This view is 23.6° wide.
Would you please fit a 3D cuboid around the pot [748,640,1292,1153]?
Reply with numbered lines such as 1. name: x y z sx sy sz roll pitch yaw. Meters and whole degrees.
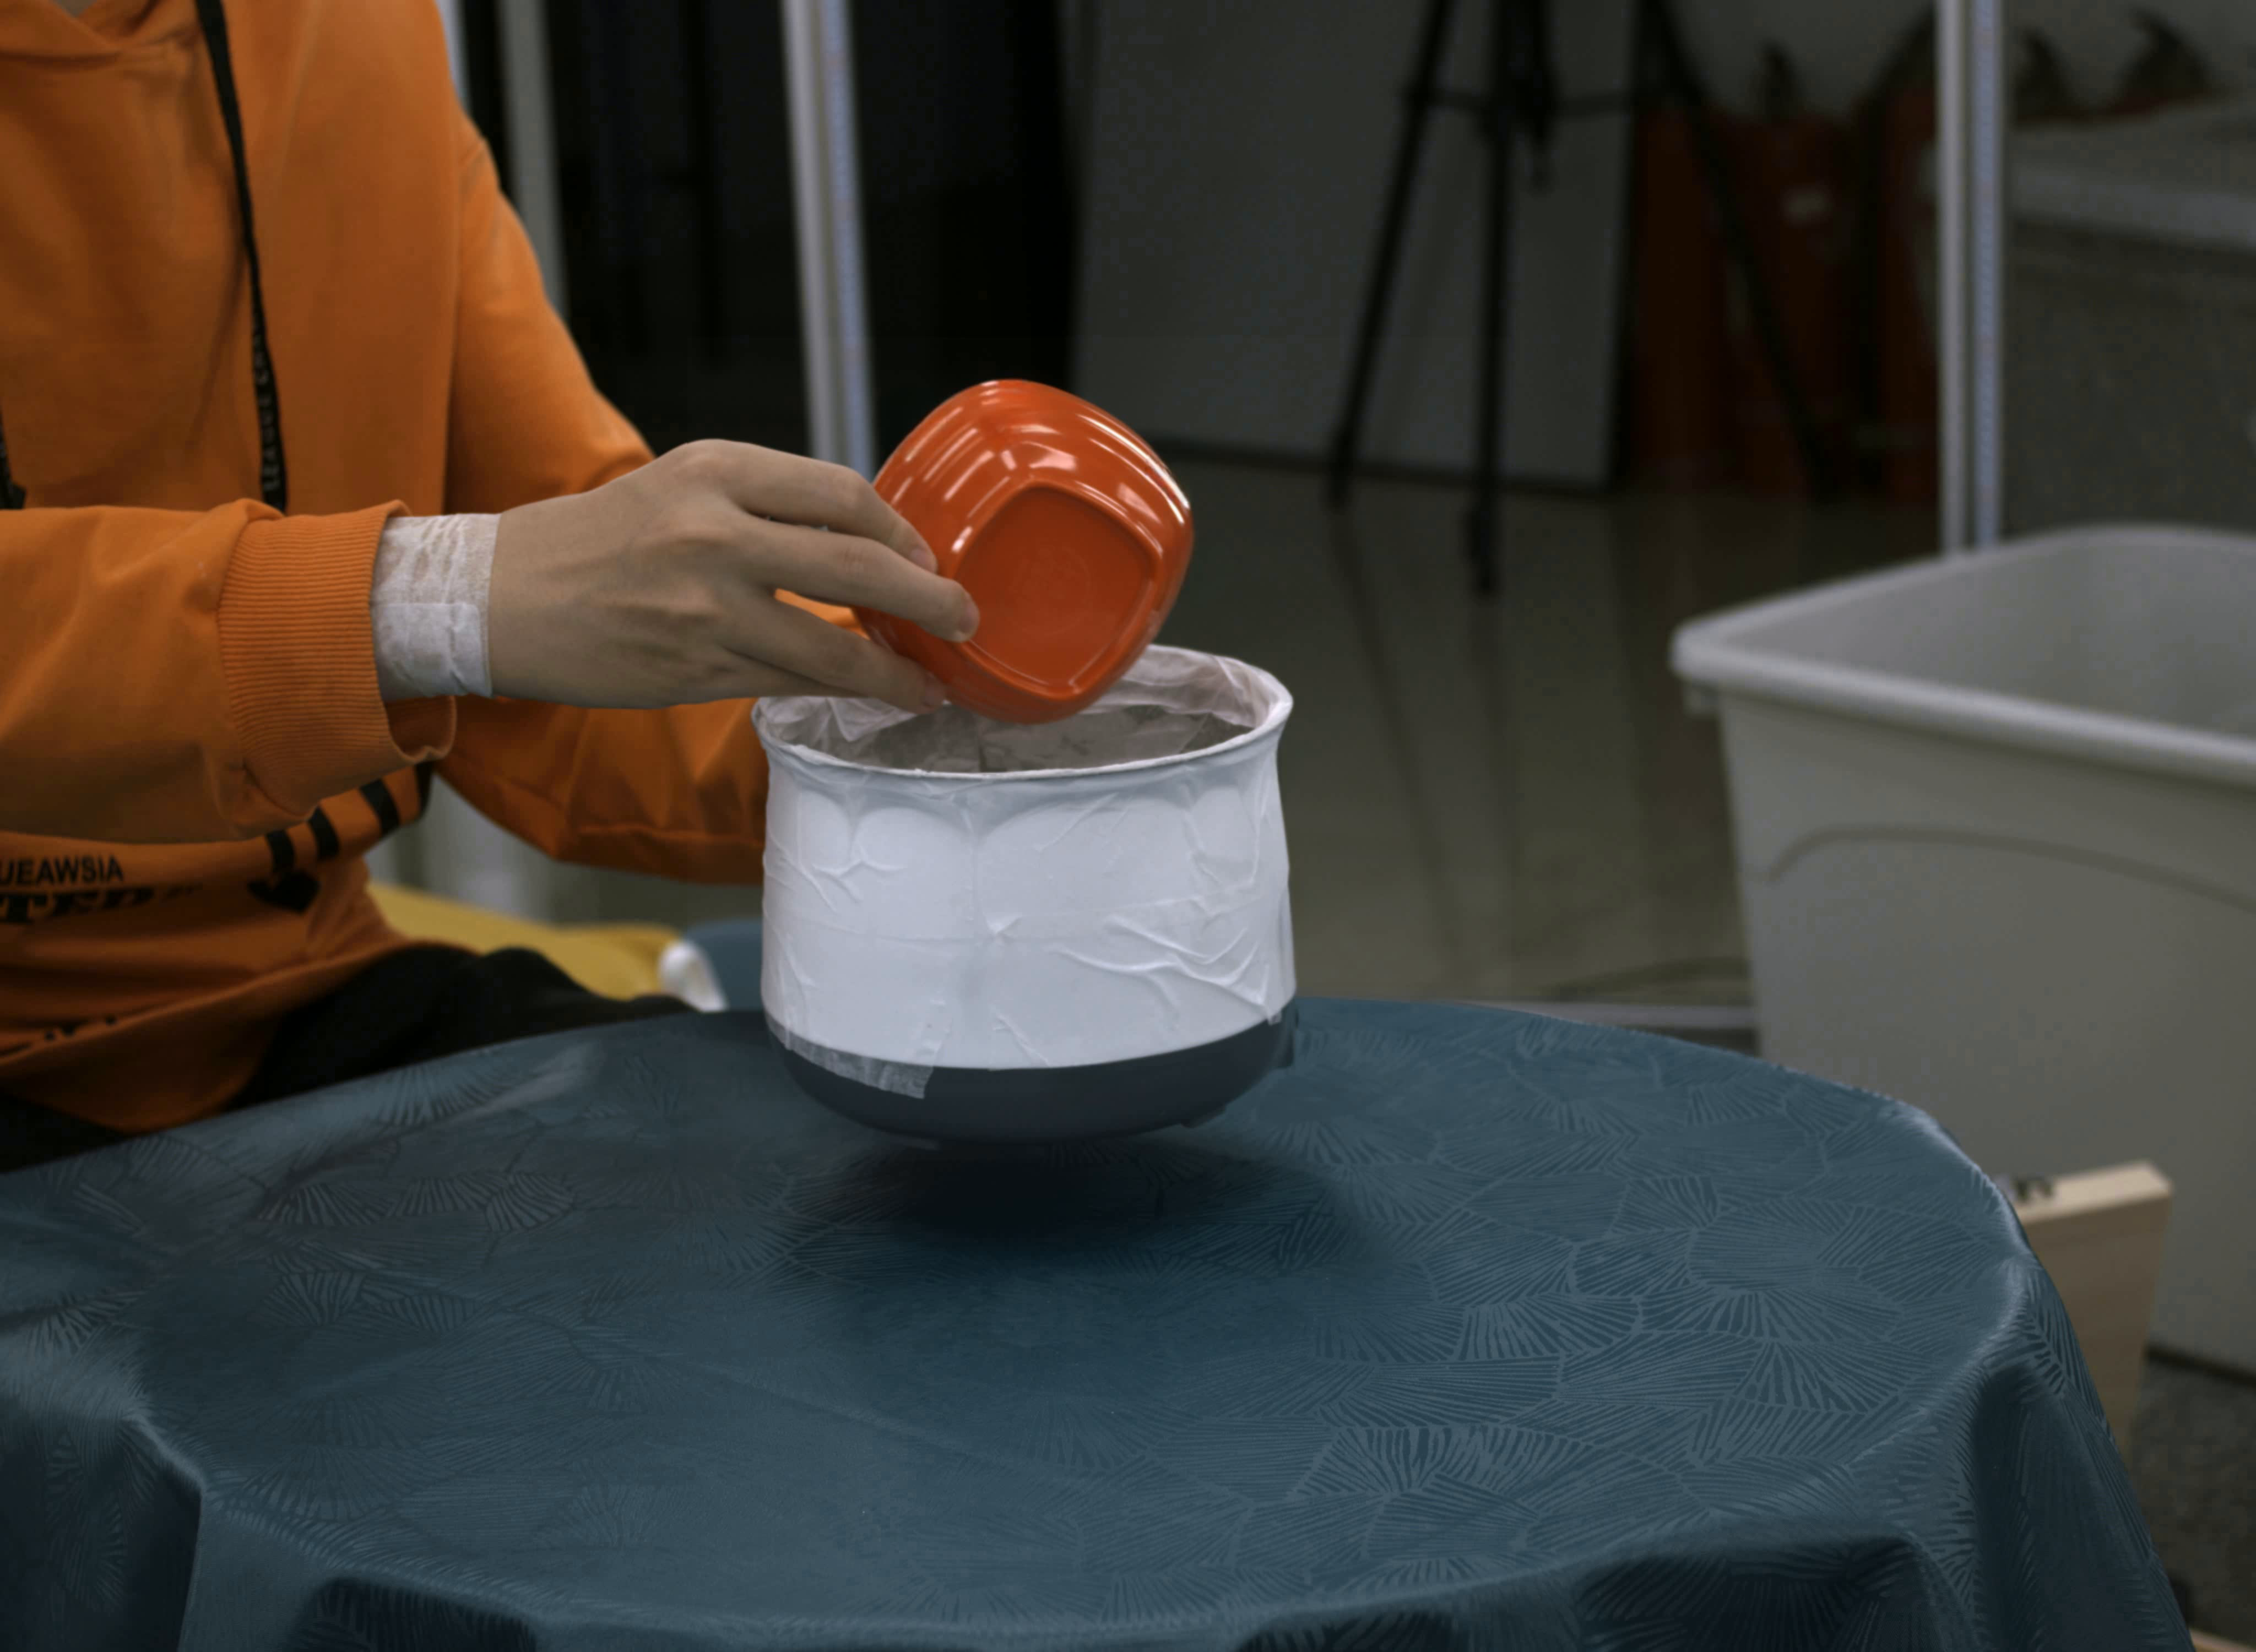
1. pot: -0.040 0.014 1.784 0.175 0.138 0.235 -5 15 -12

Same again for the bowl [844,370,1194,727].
1. bowl: -0.030 -0.083 1.750 0.117 0.120 0.052 -6 20 -12
